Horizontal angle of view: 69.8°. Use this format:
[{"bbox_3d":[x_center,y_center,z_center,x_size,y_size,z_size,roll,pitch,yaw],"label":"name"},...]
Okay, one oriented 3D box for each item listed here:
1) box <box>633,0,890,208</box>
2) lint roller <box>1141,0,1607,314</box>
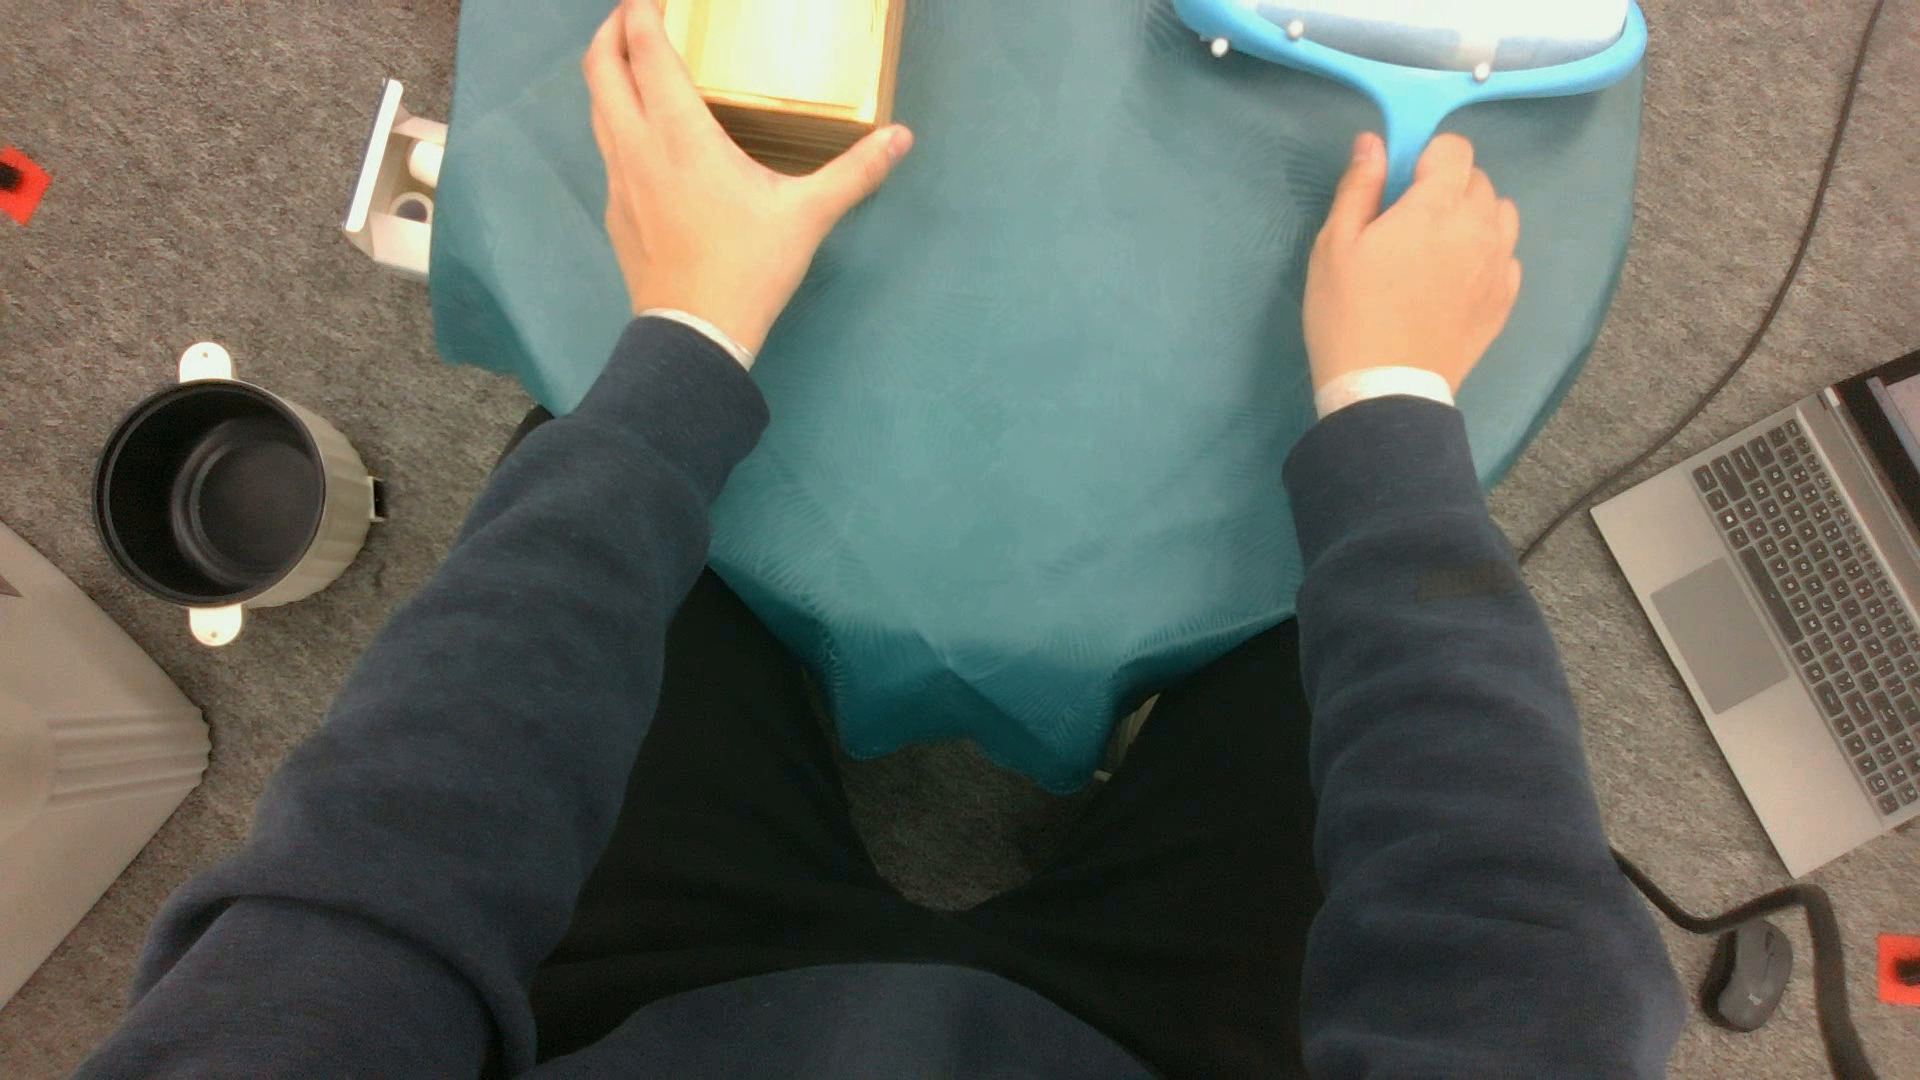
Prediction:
[{"bbox_3d":[-0.090,-0.280,0.677,0.107,0.080,0.211,3,84,1],"label":"box"},{"bbox_3d":[0.202,-0.207,0.678,0.229,0.068,0.180,3,82,-1],"label":"lint roller"}]
